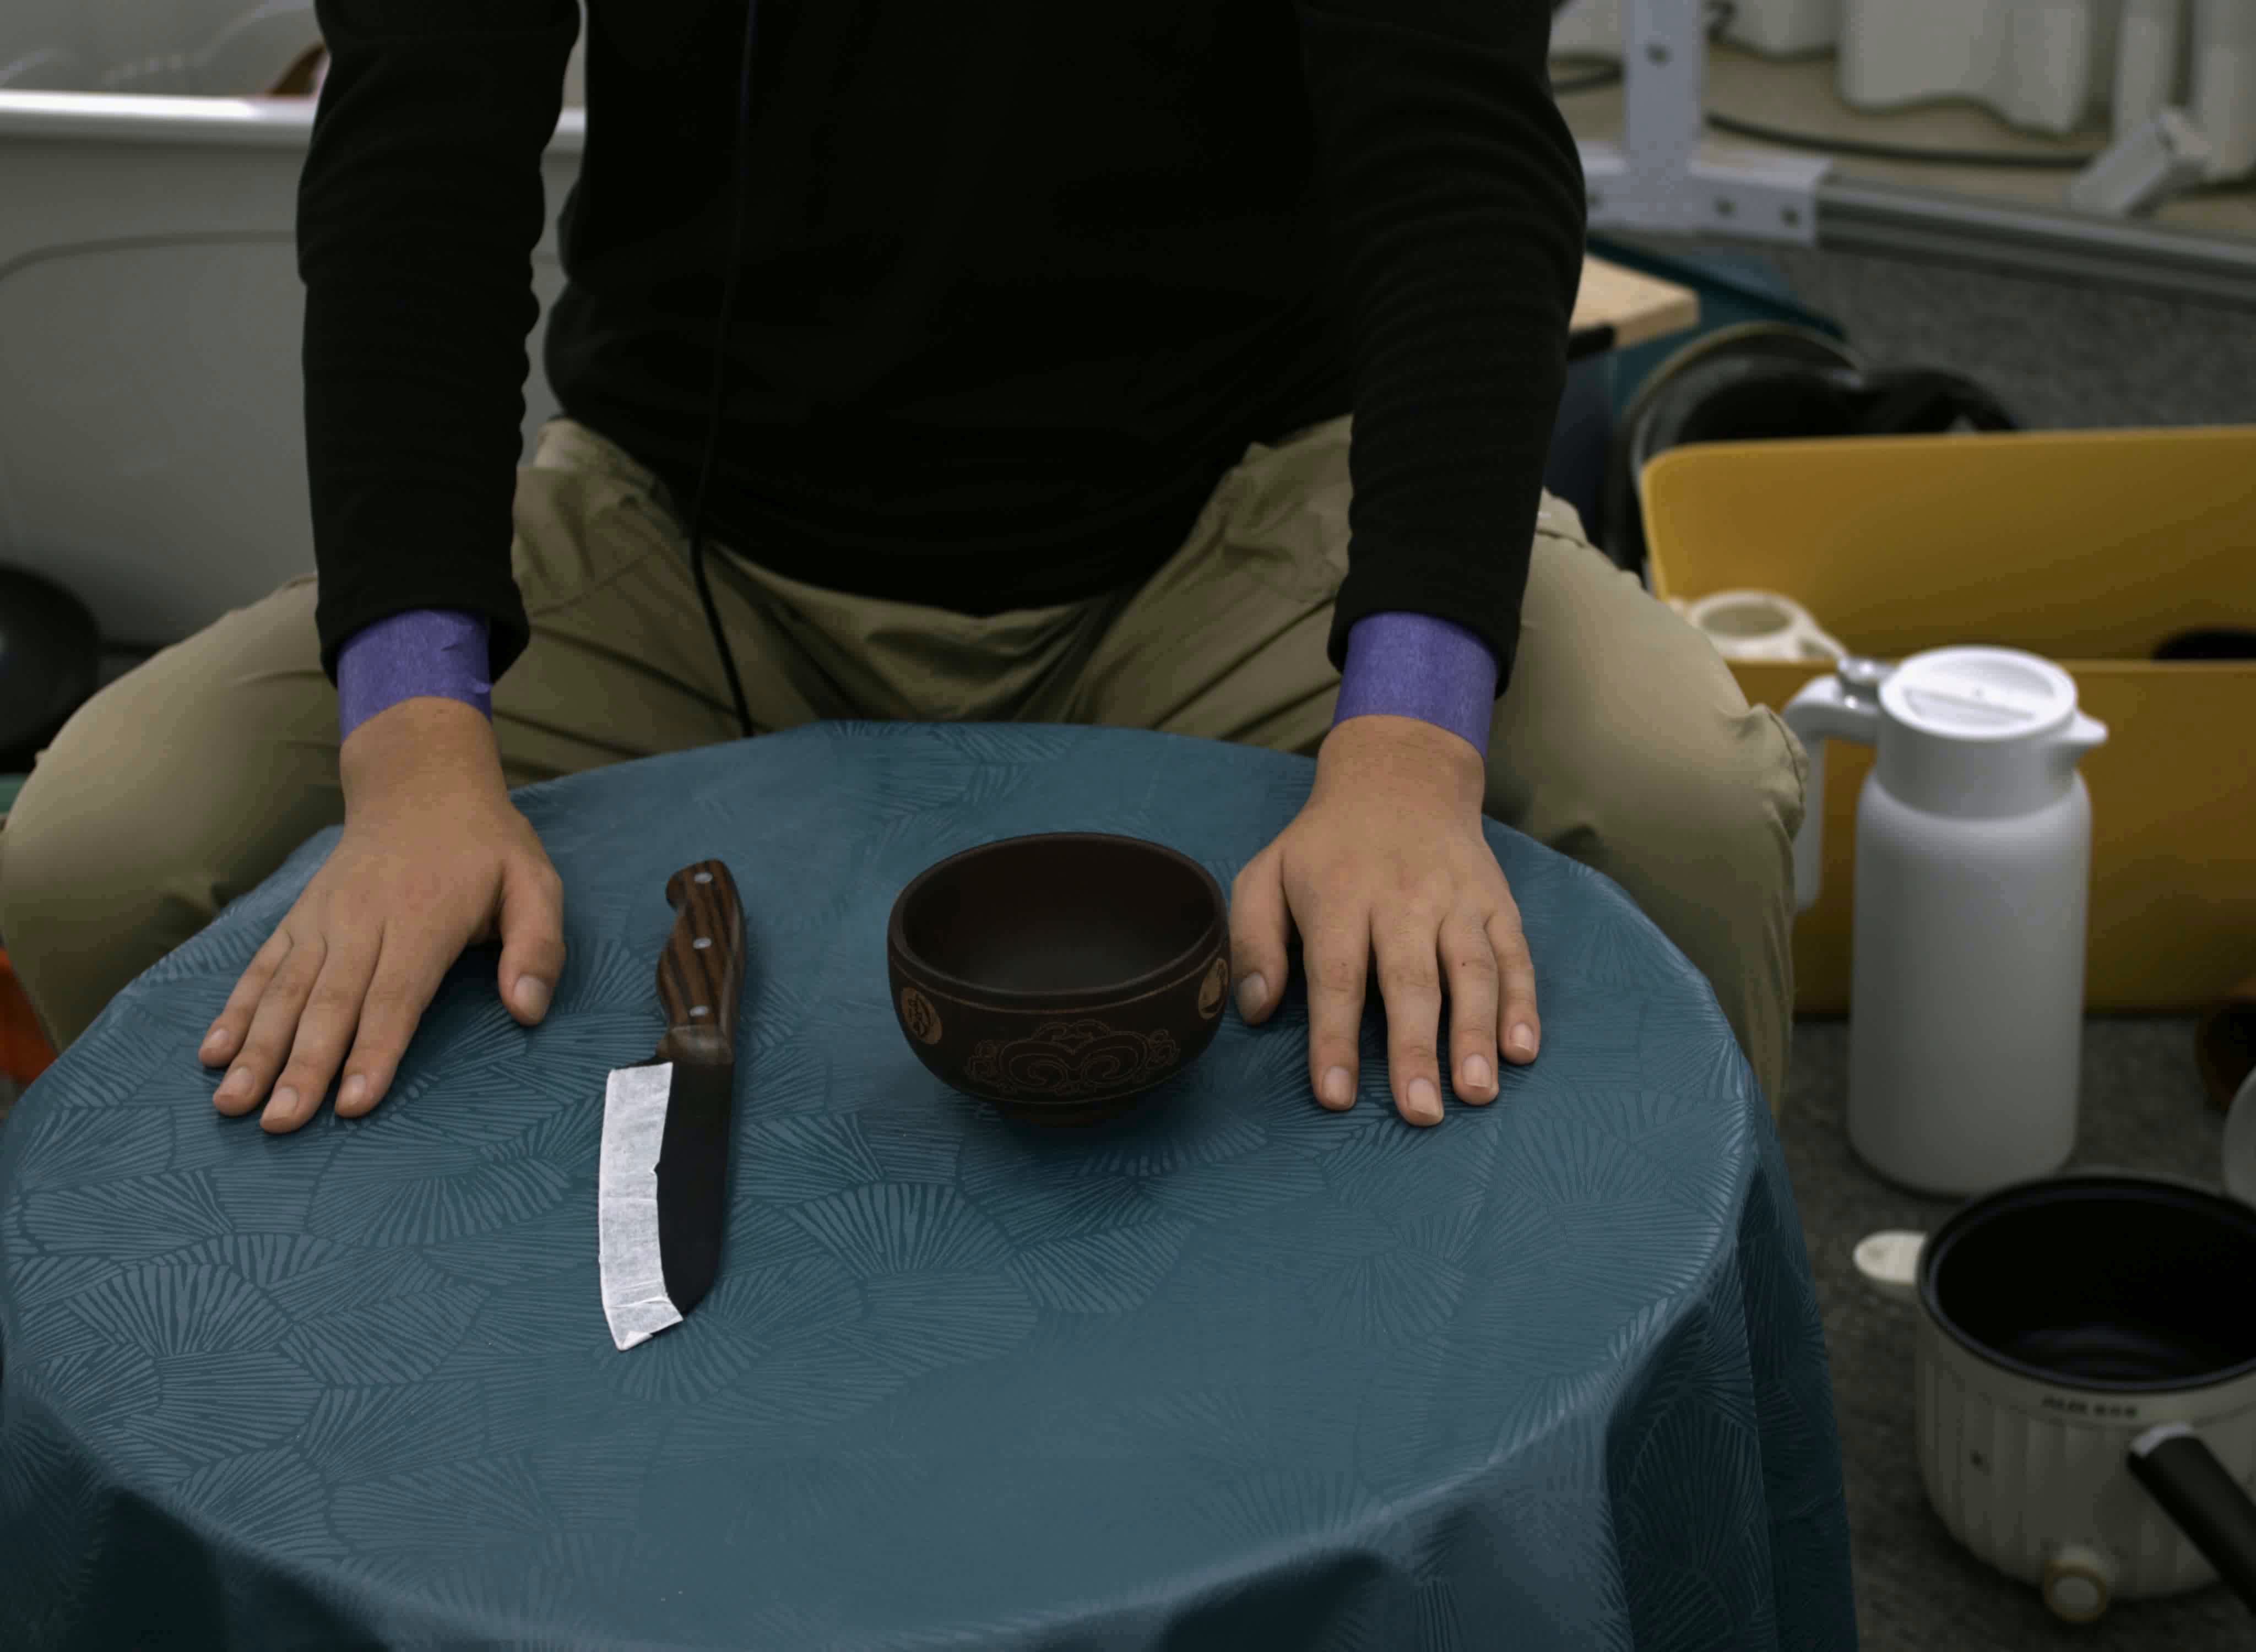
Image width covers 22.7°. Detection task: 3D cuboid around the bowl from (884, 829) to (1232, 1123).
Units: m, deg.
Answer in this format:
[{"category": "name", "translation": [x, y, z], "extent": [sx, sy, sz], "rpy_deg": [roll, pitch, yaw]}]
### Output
[{"category": "bowl", "translation": [-0.023, 0.057, 1.908], "extent": [0.117, 0.069, 0.120], "rpy_deg": [-2, 26, 1]}]

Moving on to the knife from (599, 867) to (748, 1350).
[{"category": "knife", "translation": [-0.154, 0.094, 1.911], "extent": [0.050, 0.020, 0.294], "rpy_deg": [-6, 29, 4]}]
